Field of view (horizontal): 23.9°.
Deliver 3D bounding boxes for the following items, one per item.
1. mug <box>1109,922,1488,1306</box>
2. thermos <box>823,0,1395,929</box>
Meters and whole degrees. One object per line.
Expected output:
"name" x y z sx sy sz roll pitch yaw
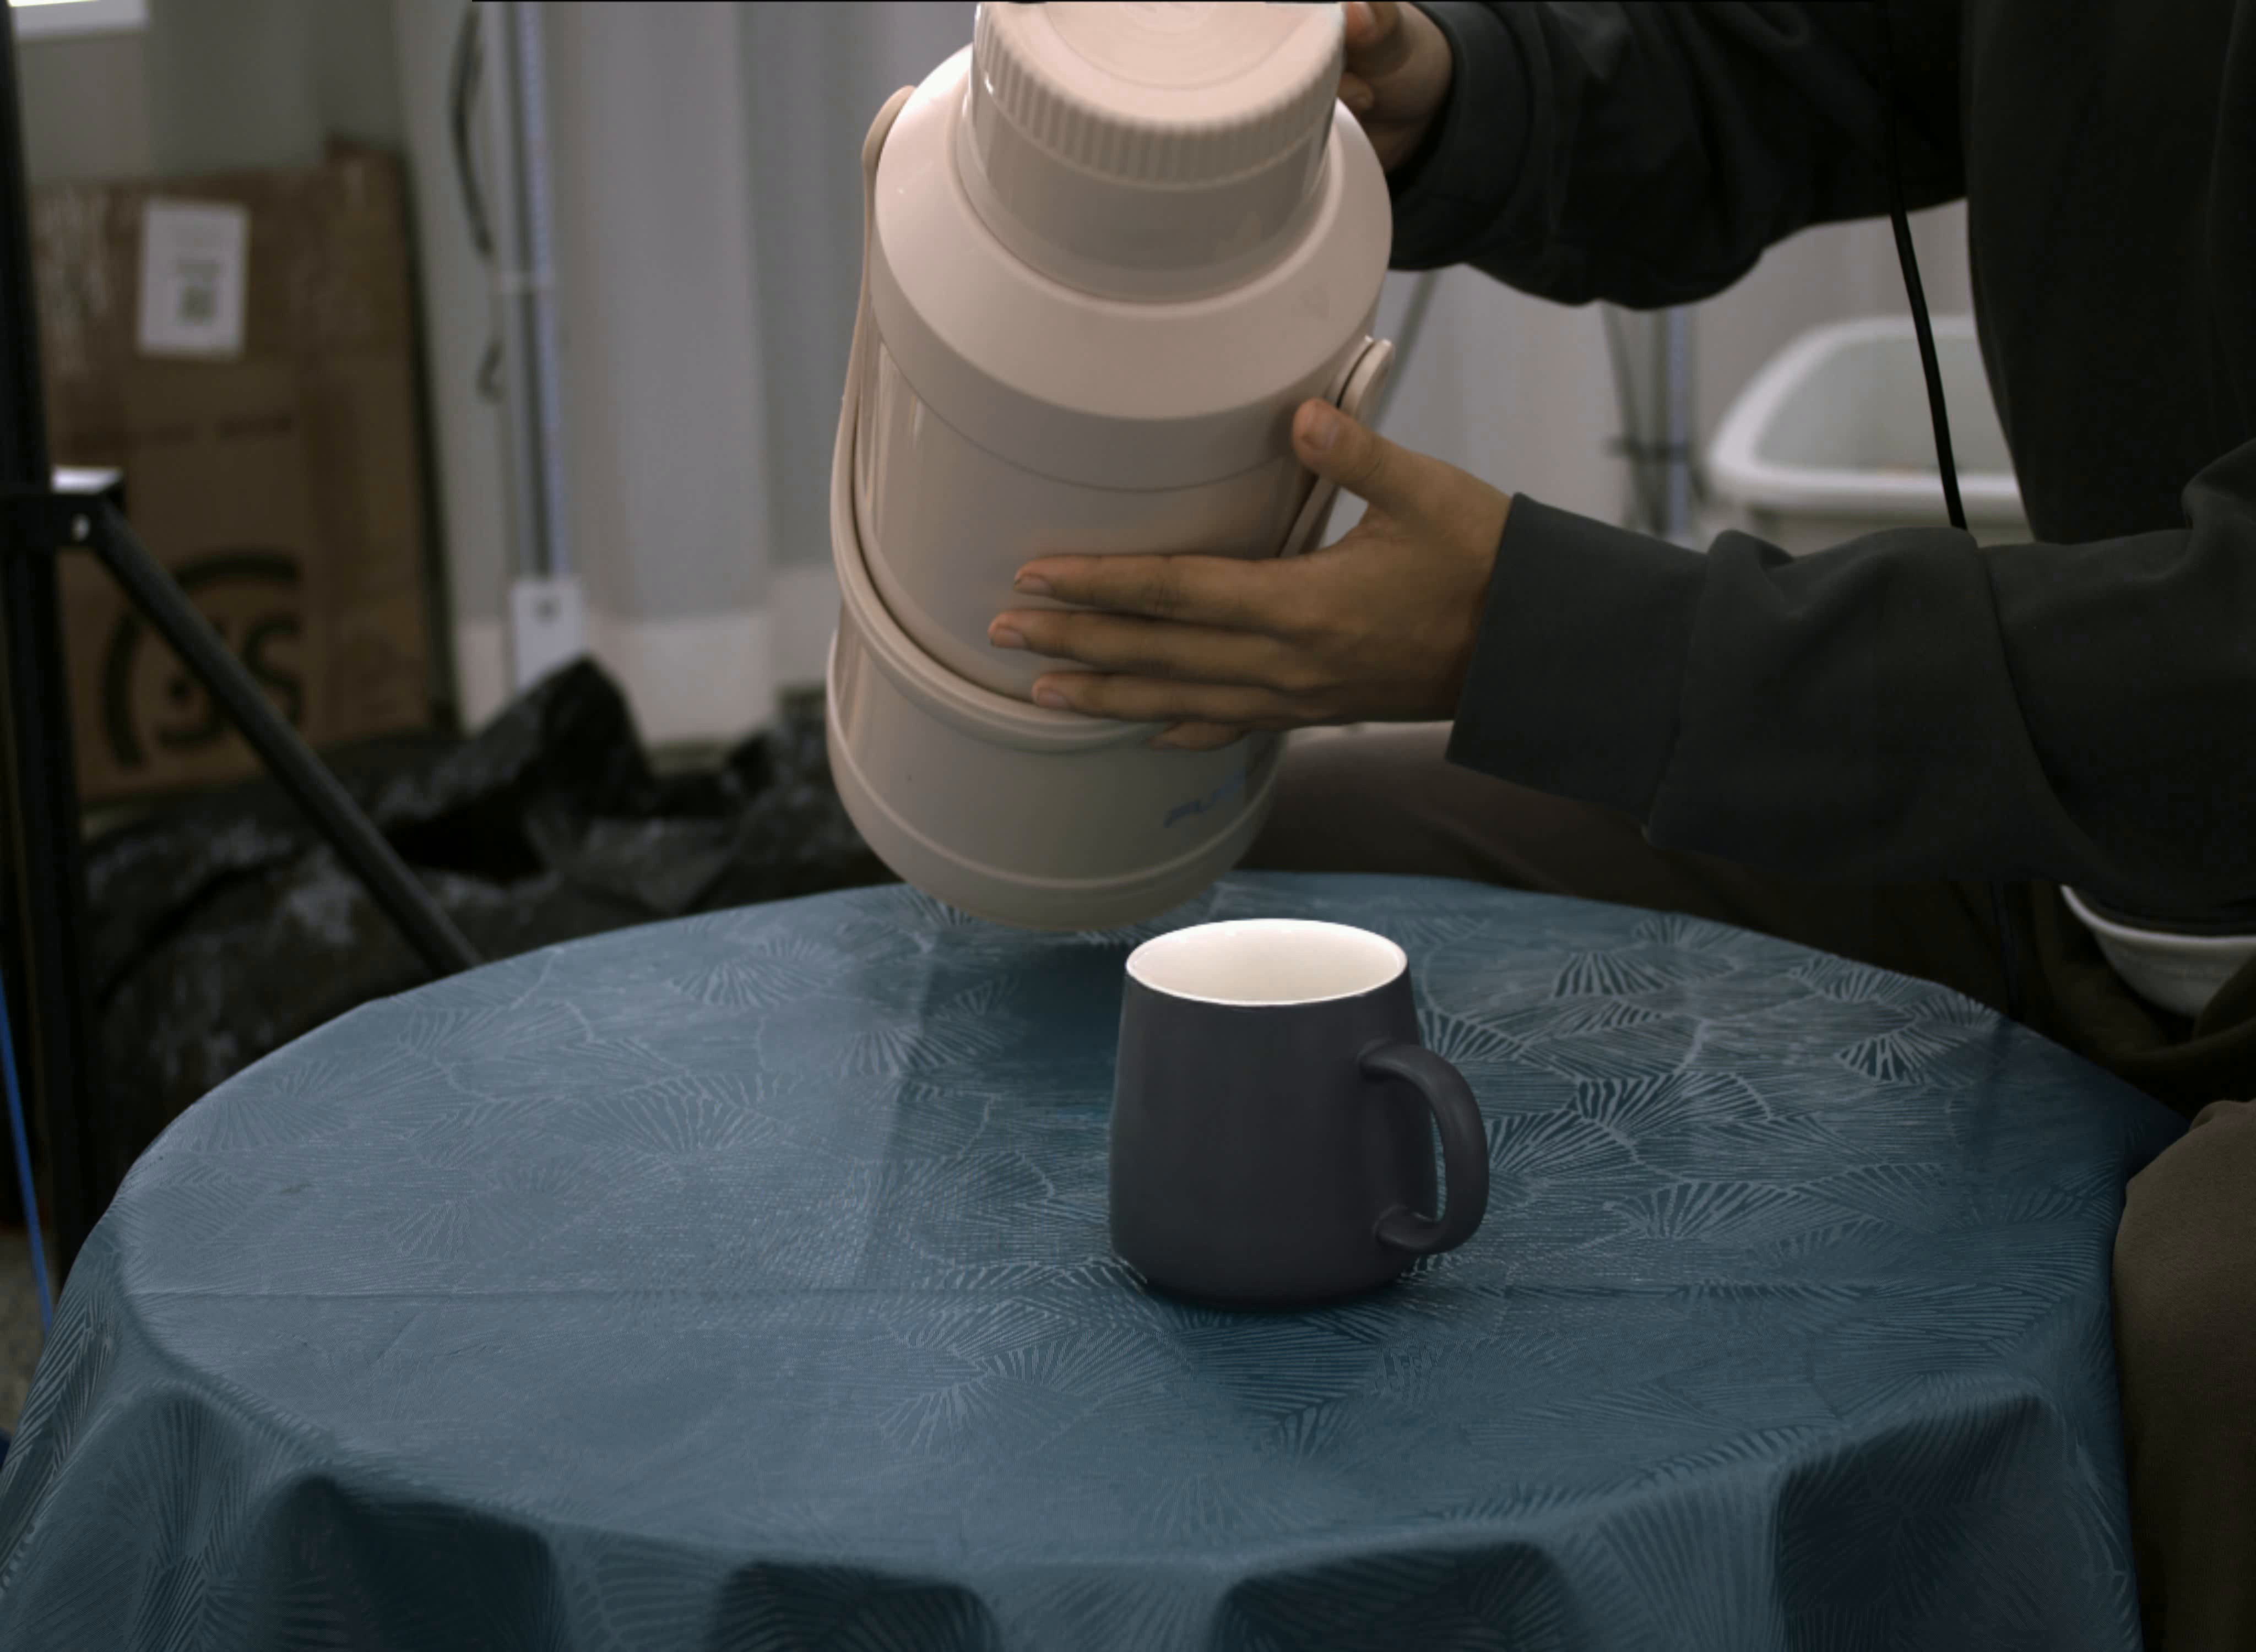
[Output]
"mug" 0.051 0.083 1.471 0.091 0.090 0.126 -15 20 -40
"thermos" 0.001 -0.145 1.682 0.177 0.405 0.206 29 59 13
